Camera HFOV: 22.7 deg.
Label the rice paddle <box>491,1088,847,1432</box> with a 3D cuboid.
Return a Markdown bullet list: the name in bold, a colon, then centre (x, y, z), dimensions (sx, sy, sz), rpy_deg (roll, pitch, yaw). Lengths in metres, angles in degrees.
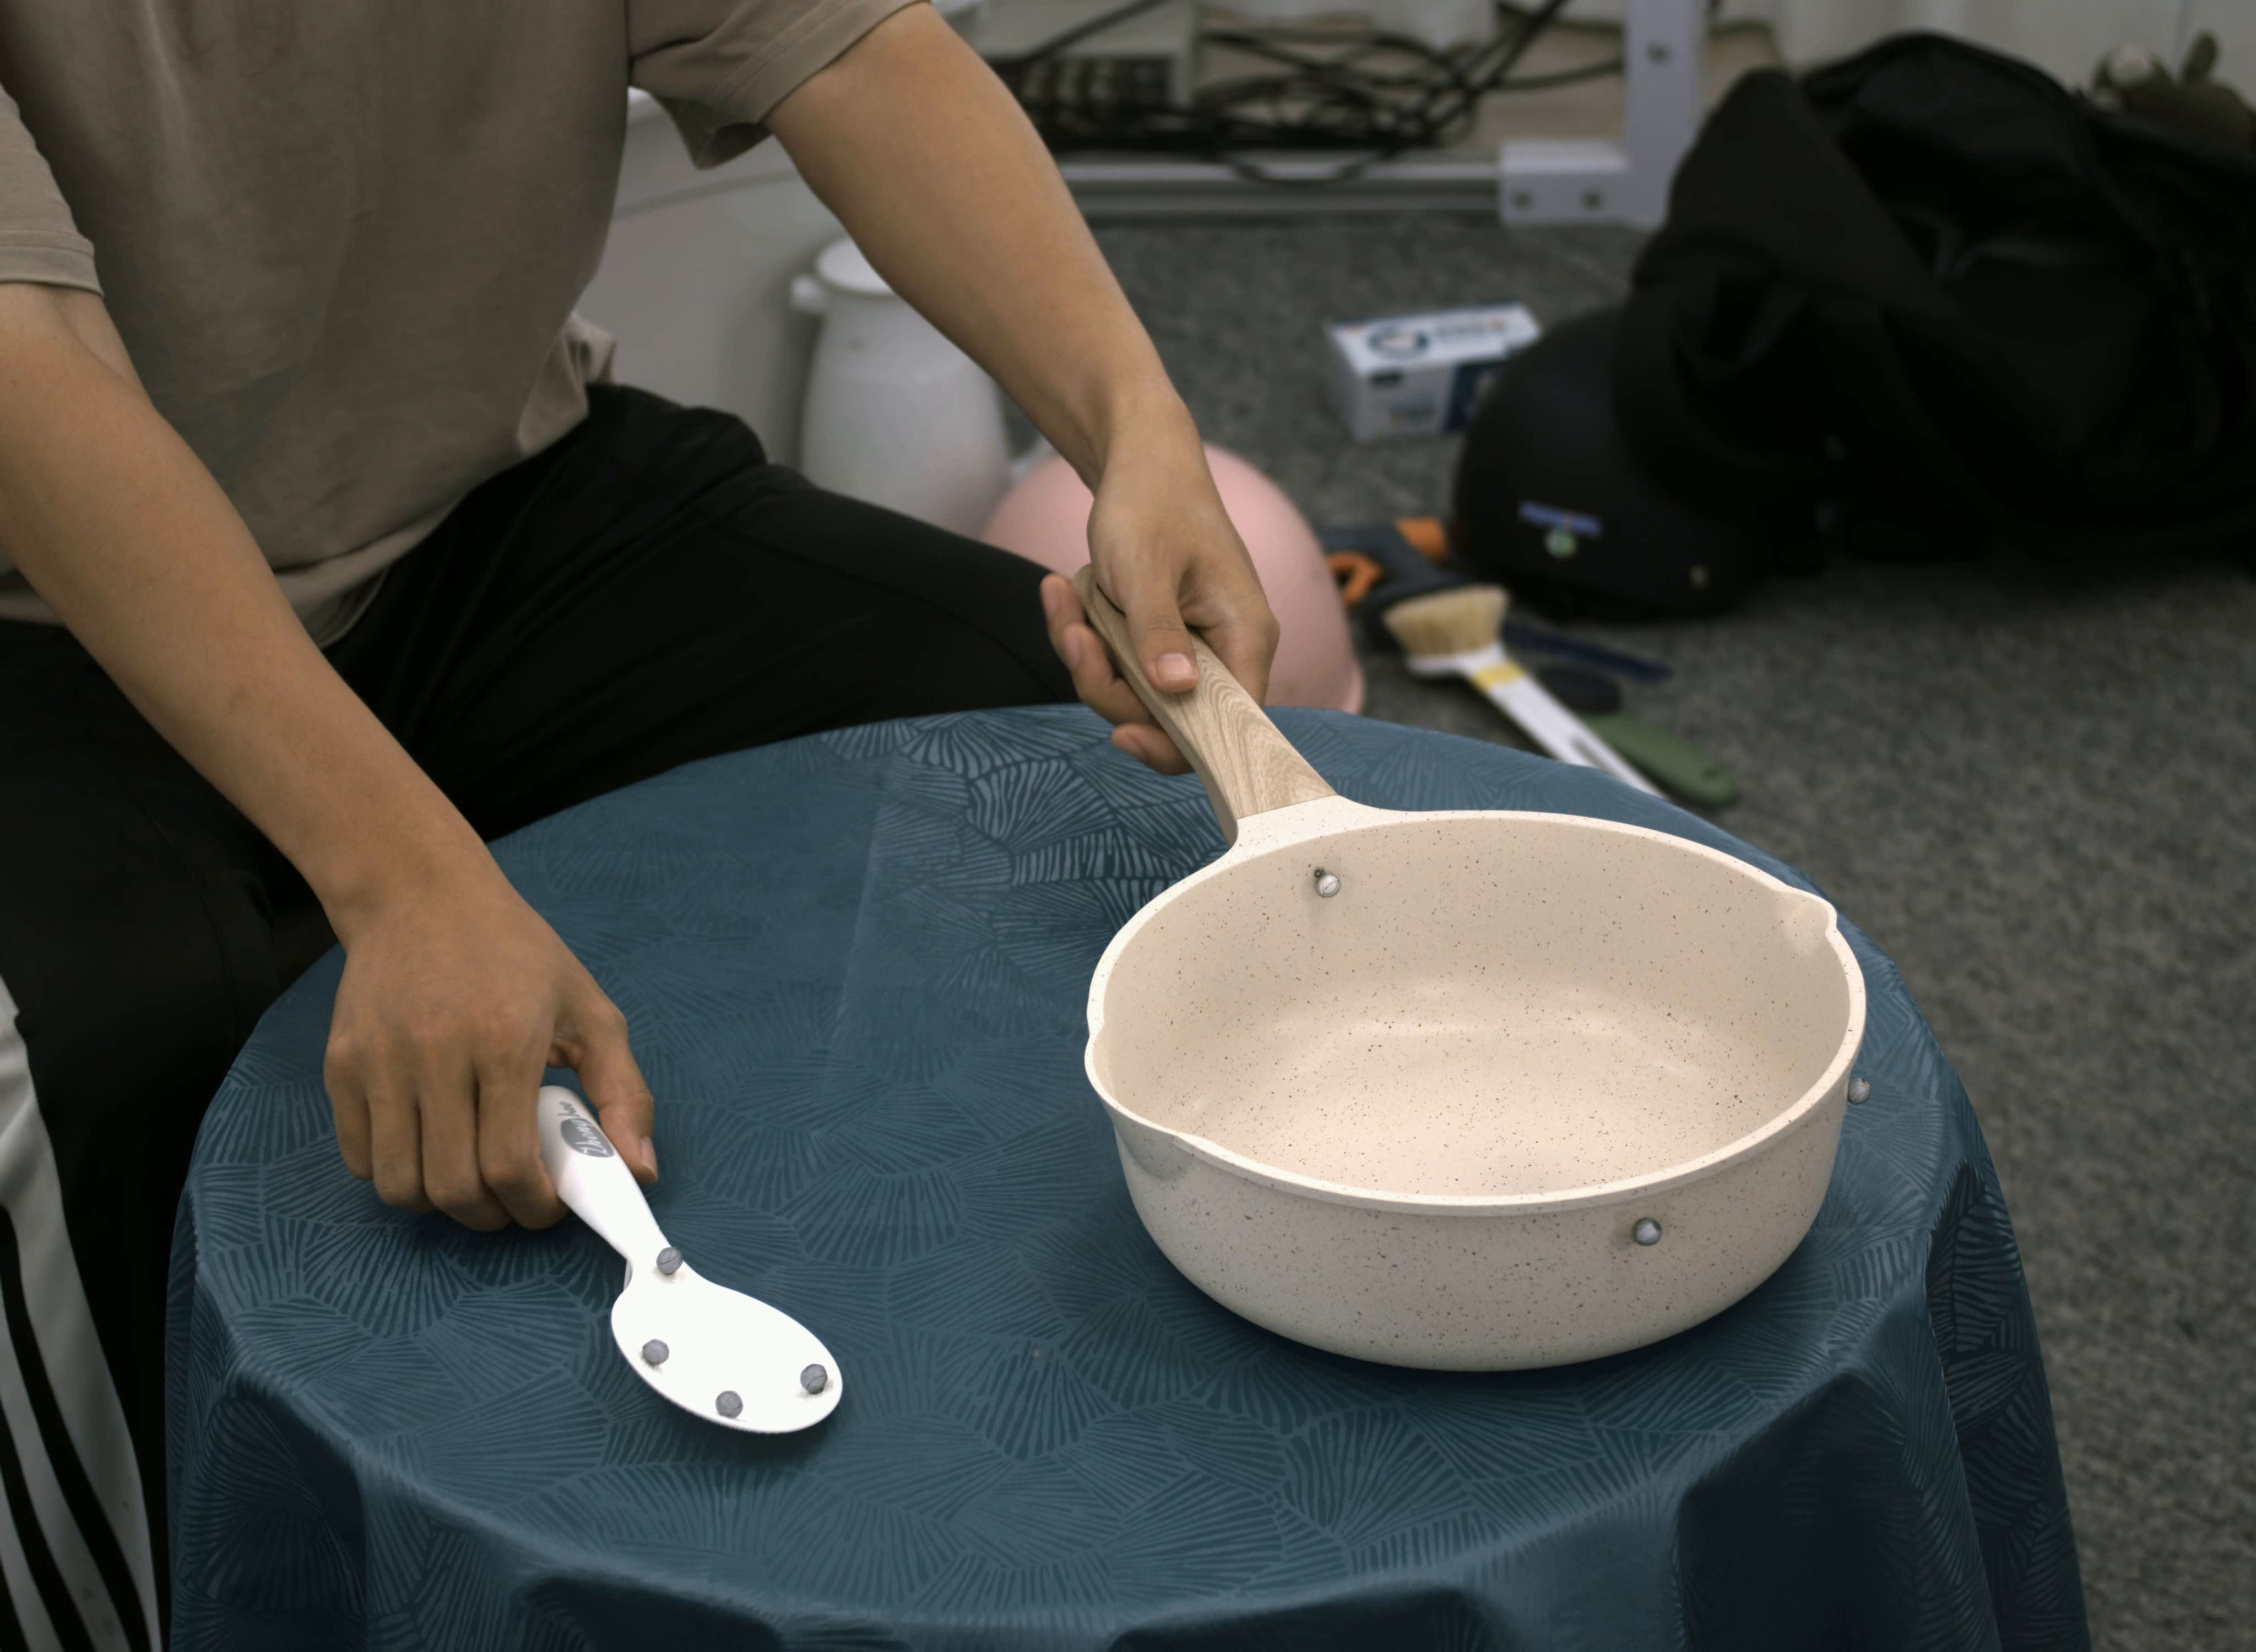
- **rice paddle**: centre (-0.151, 0.142, 1.802), dimensions (0.069, 0.029, 0.206), rpy_deg (-4, 26, -29)

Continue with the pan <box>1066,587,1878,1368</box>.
- **pan**: centre (0.081, 0.045, 1.903), dimensions (0.264, 0.101, 0.438), rpy_deg (-15, 30, -19)
